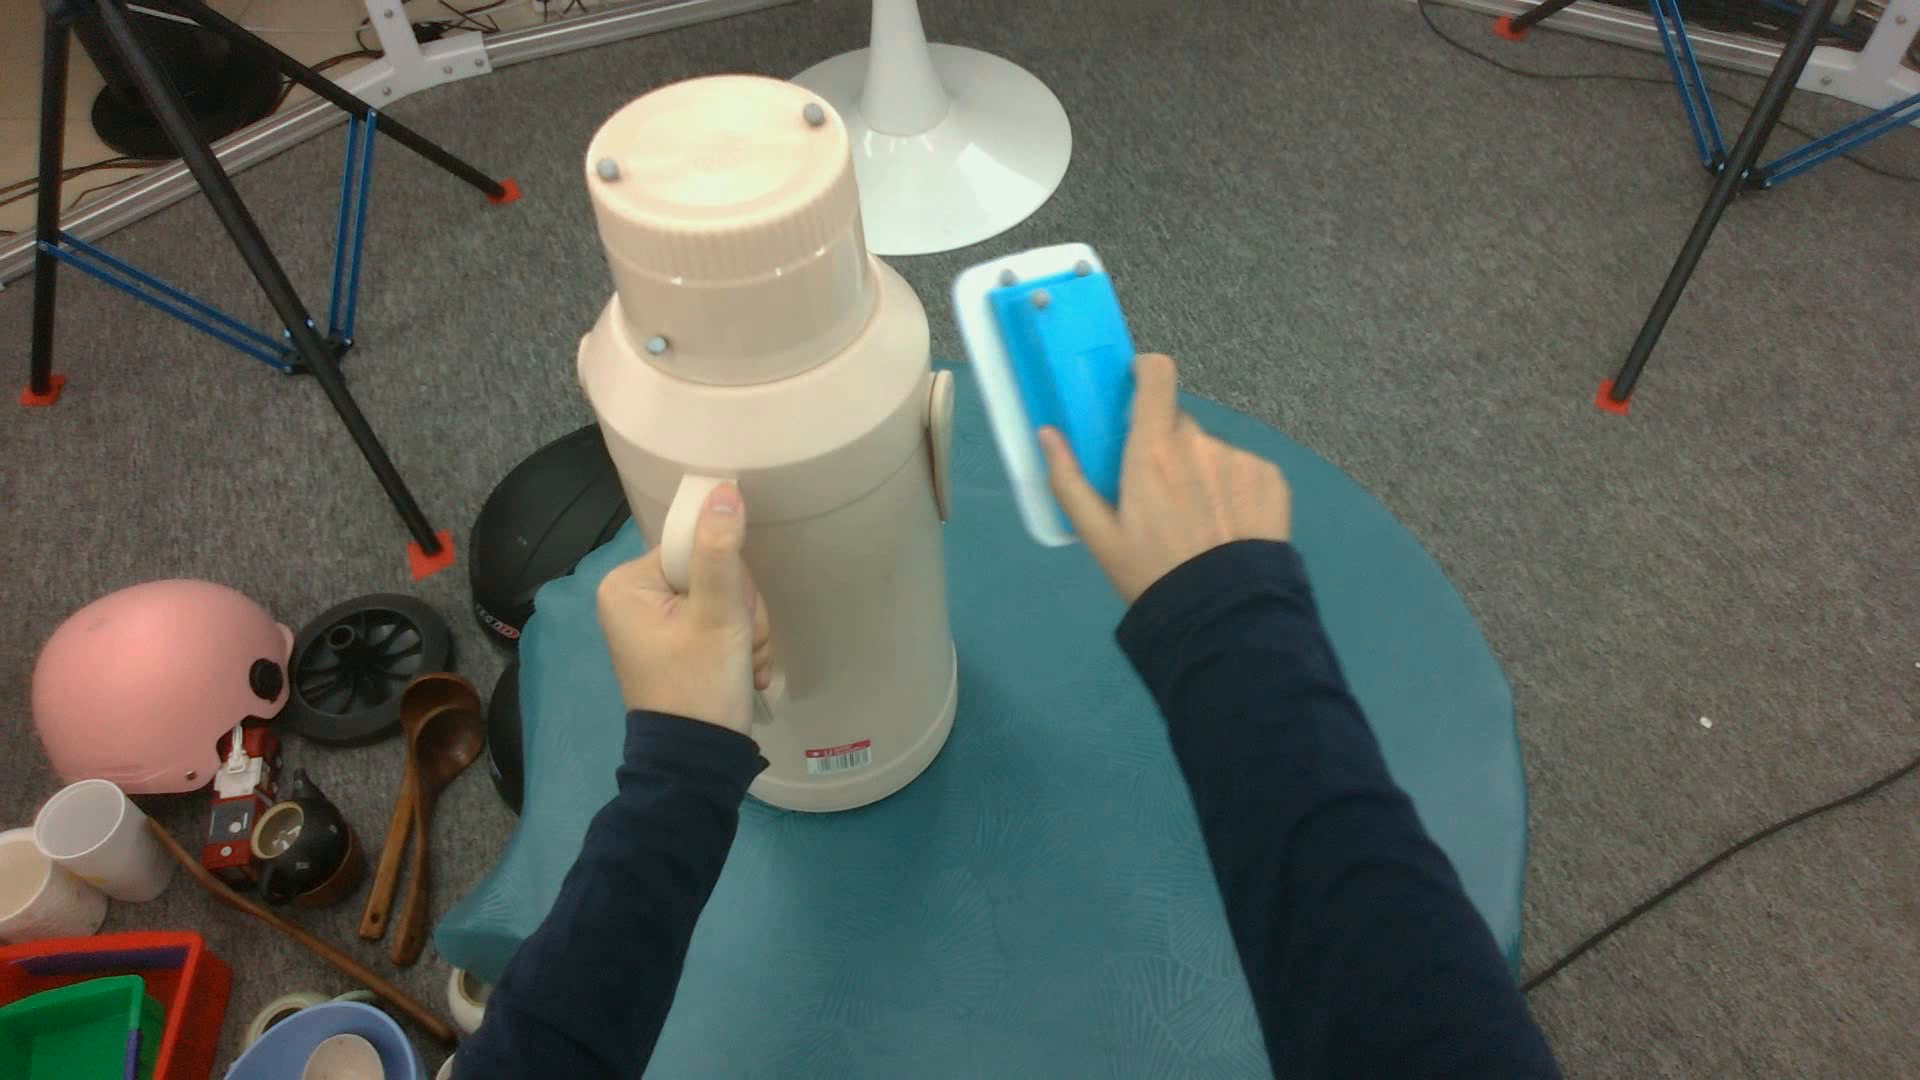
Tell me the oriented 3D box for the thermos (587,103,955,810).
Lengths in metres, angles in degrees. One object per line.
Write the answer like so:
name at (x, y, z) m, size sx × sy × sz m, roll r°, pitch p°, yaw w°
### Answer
thermos at (-0.092, -0.012, 0.708) m, size 0.175 × 0.404 × 0.208 m, roll 7°, pitch 52°, yaw 7°

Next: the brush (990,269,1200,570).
brush at (0.069, -0.060, 0.668) m, size 0.084 × 0.056 × 0.144 m, roll -16°, pitch 90°, yaw -13°
